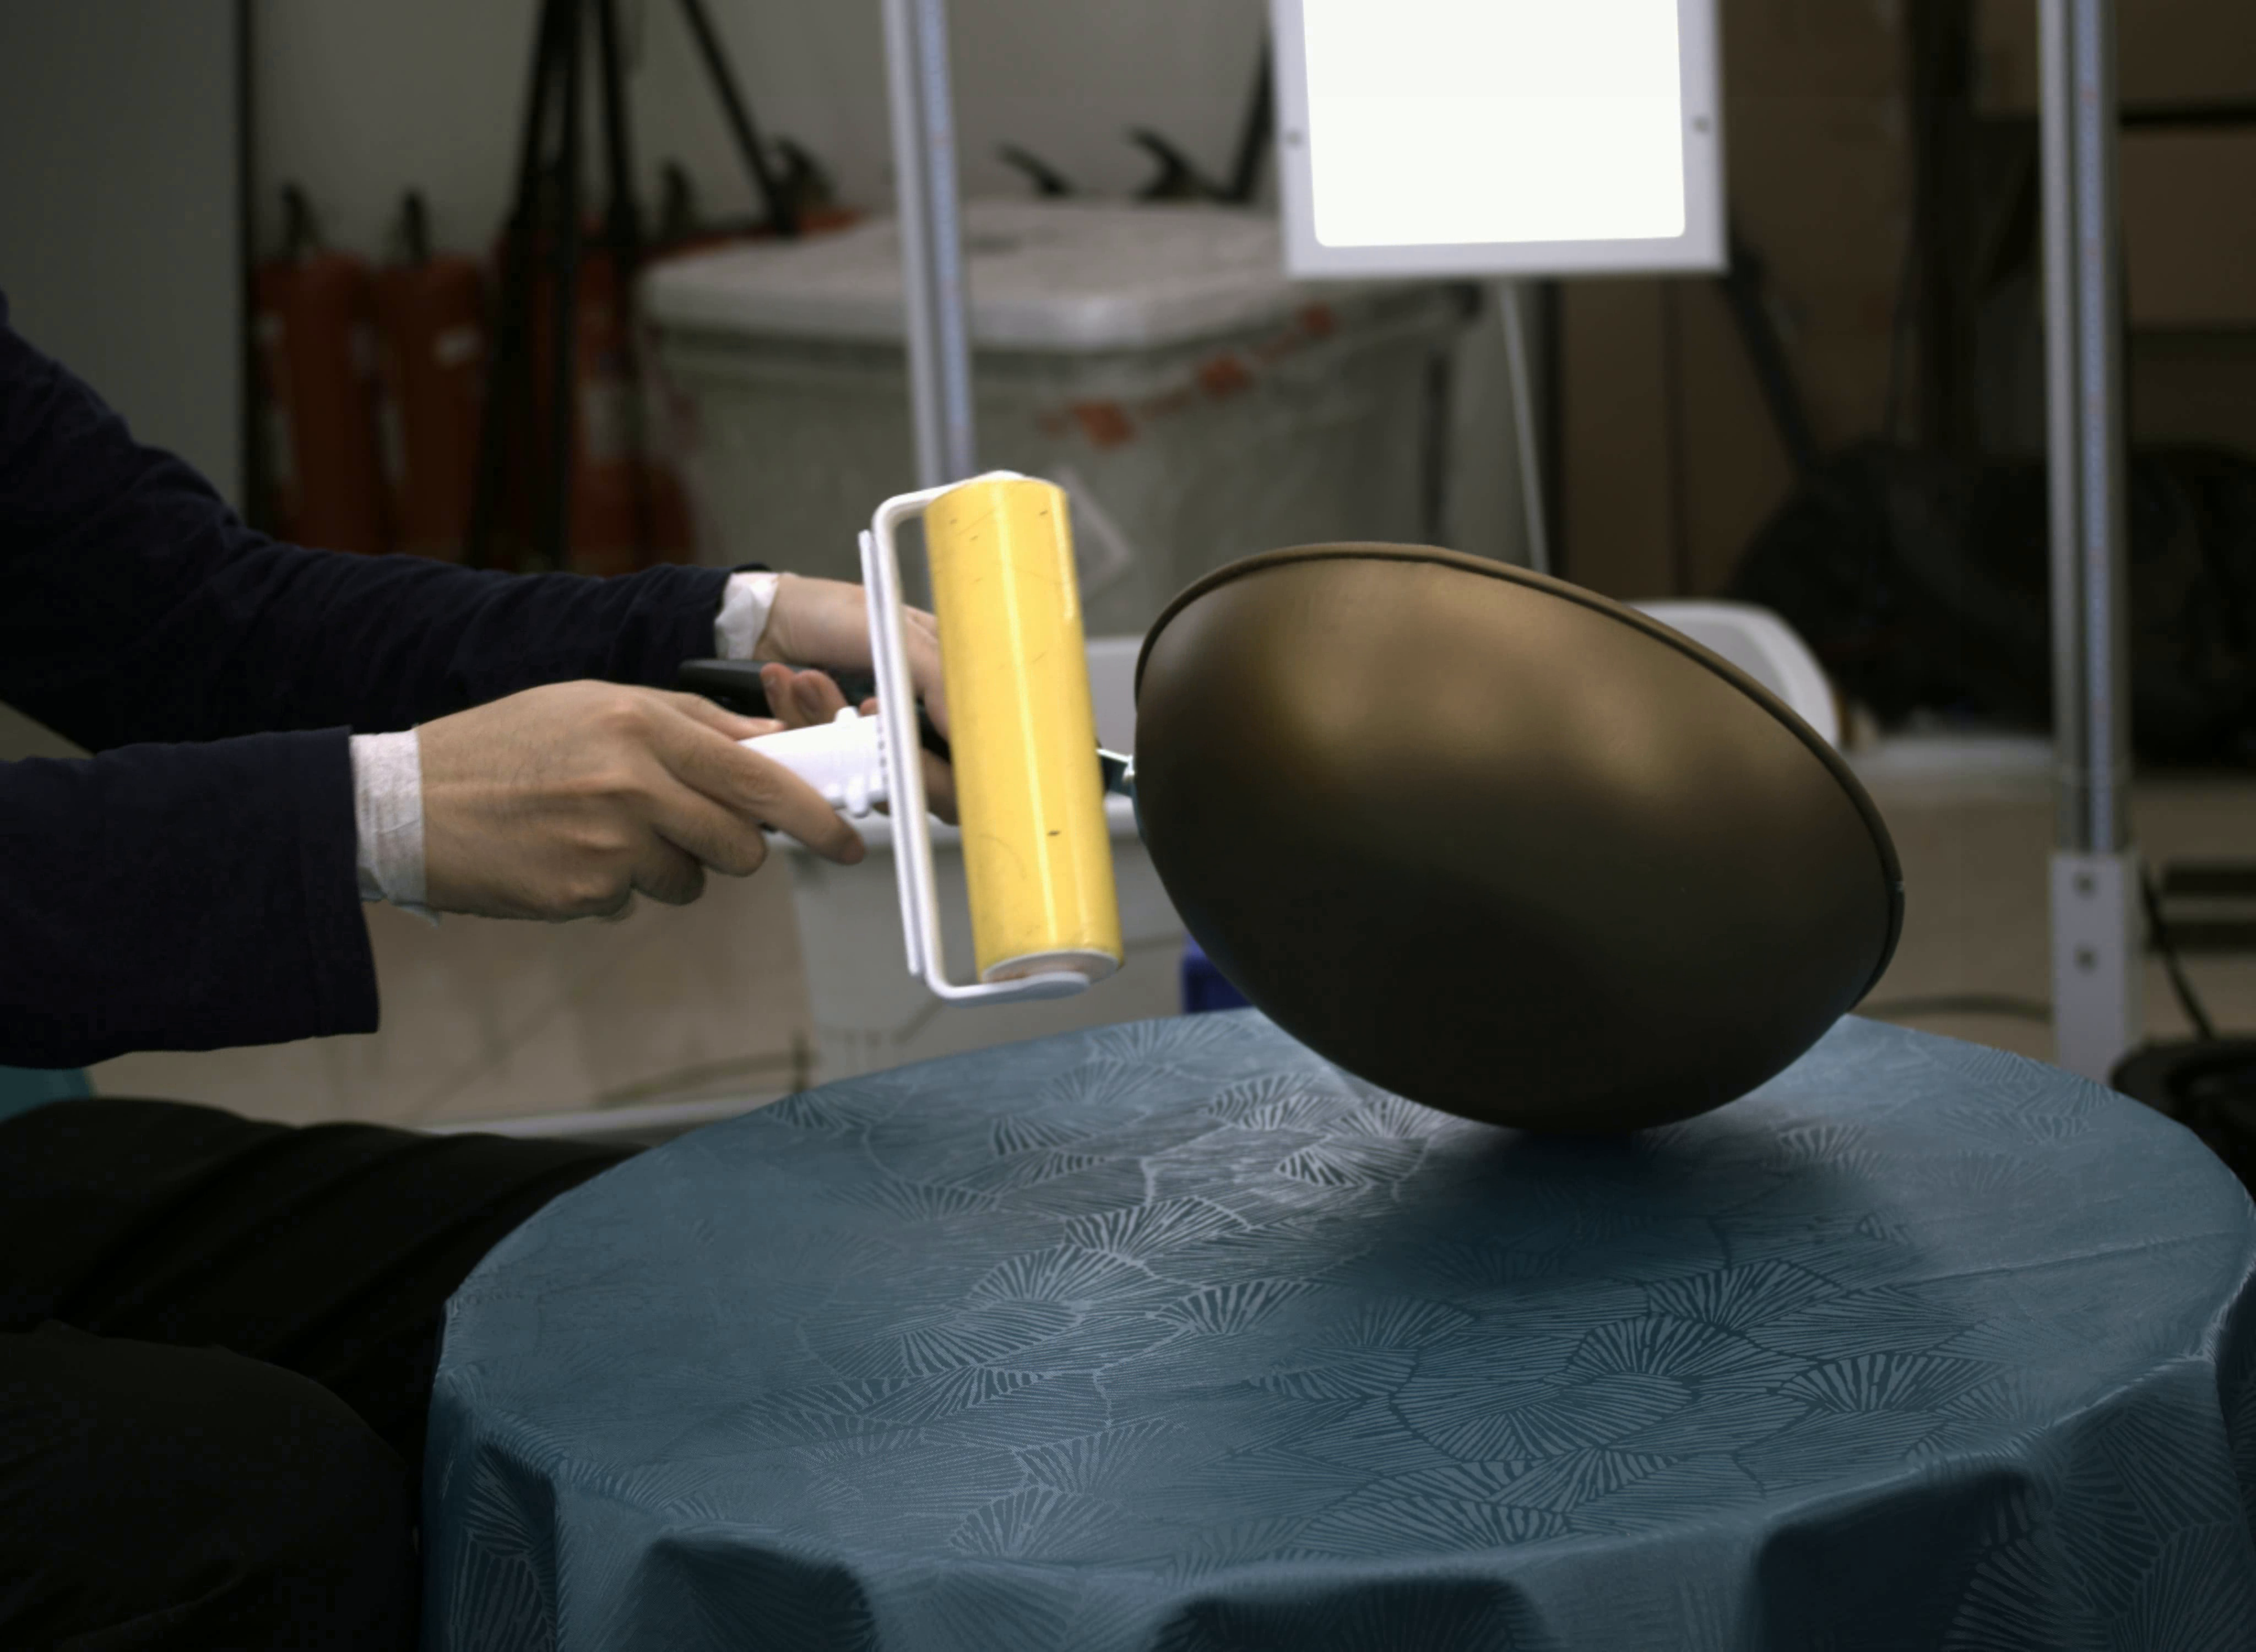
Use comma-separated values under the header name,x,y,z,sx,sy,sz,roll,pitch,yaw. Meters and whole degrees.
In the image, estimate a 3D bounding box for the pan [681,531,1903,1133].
name,x,y,z,sx,sy,sz,roll,pitch,yaw
pan,0.035,0.008,1.897,0.470,0.287,0.086,9,56,25

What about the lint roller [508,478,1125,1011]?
name,x,y,z,sx,sy,sz,roll,pitch,yaw
lint roller,-0.107,-0.016,1.780,0.191,0.174,0.051,-9,-17,0
